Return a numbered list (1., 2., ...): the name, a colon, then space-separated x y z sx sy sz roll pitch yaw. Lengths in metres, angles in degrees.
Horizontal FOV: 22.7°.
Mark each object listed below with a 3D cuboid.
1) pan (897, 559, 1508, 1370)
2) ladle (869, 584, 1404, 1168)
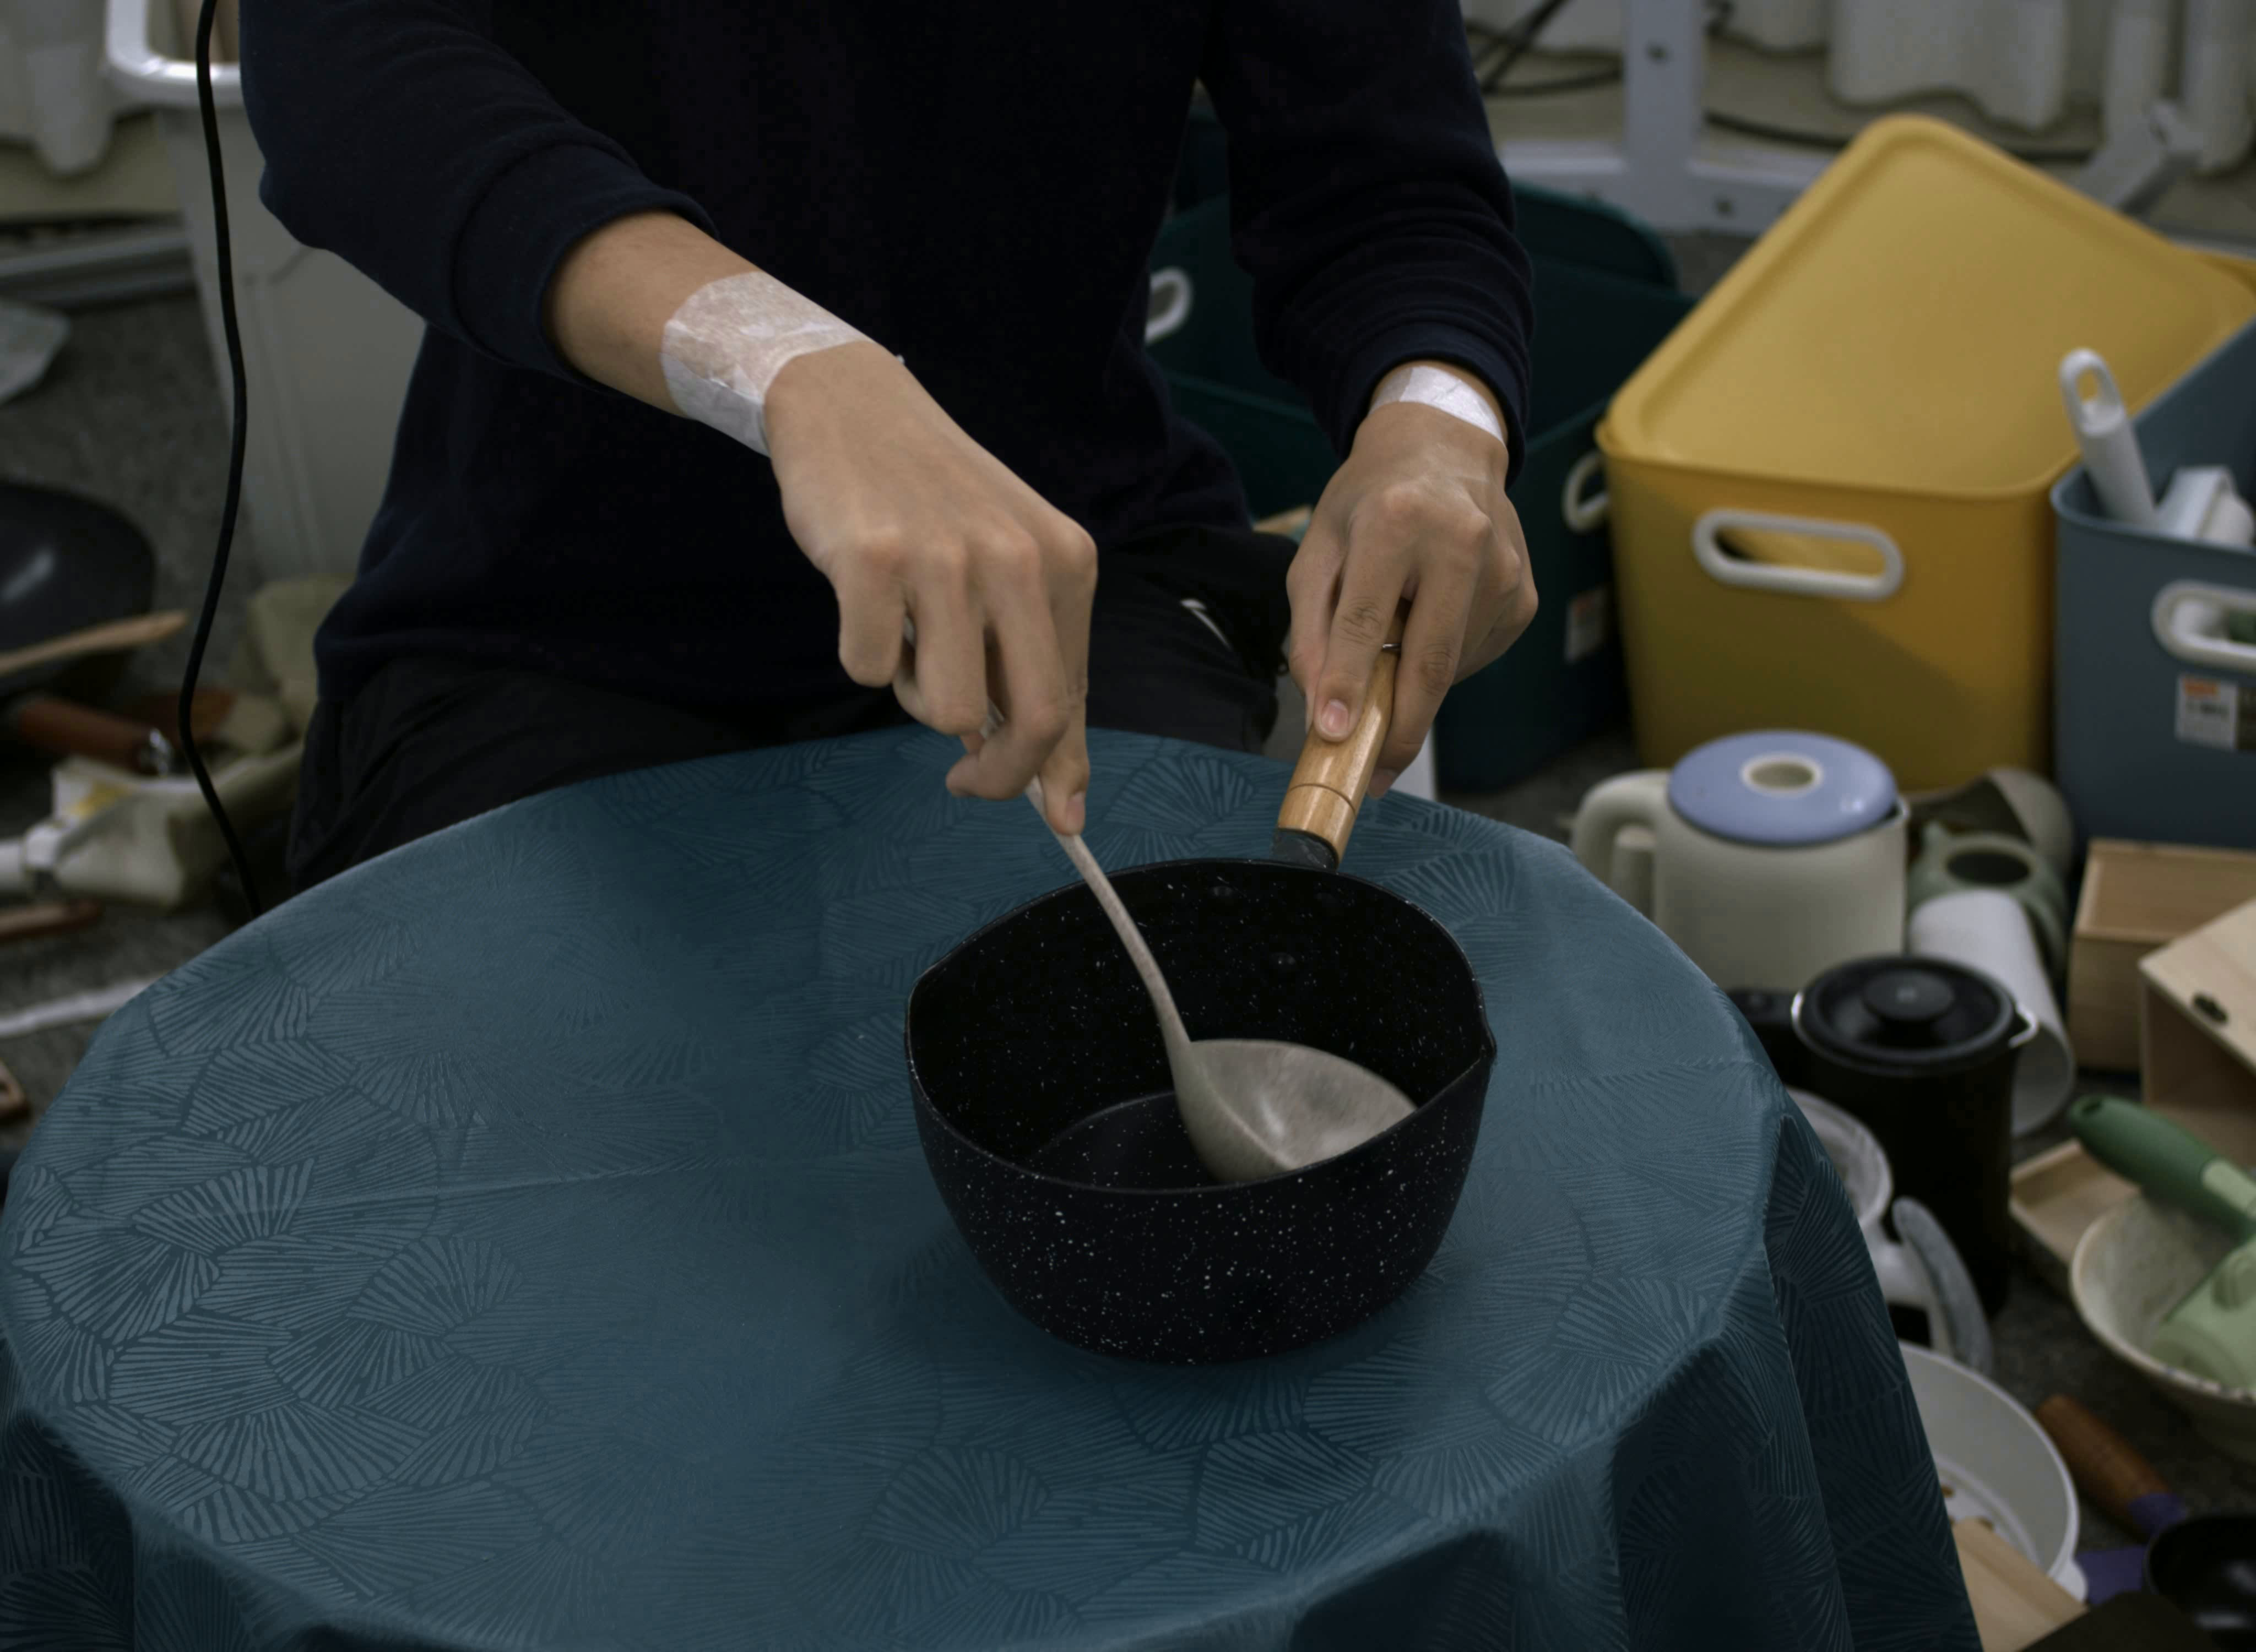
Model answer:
1. pan: 0.047 0.043 1.866 0.206 0.107 0.349 4 35 17
2. ladle: 0.010 0.013 1.761 0.069 0.272 0.090 -28 32 3
